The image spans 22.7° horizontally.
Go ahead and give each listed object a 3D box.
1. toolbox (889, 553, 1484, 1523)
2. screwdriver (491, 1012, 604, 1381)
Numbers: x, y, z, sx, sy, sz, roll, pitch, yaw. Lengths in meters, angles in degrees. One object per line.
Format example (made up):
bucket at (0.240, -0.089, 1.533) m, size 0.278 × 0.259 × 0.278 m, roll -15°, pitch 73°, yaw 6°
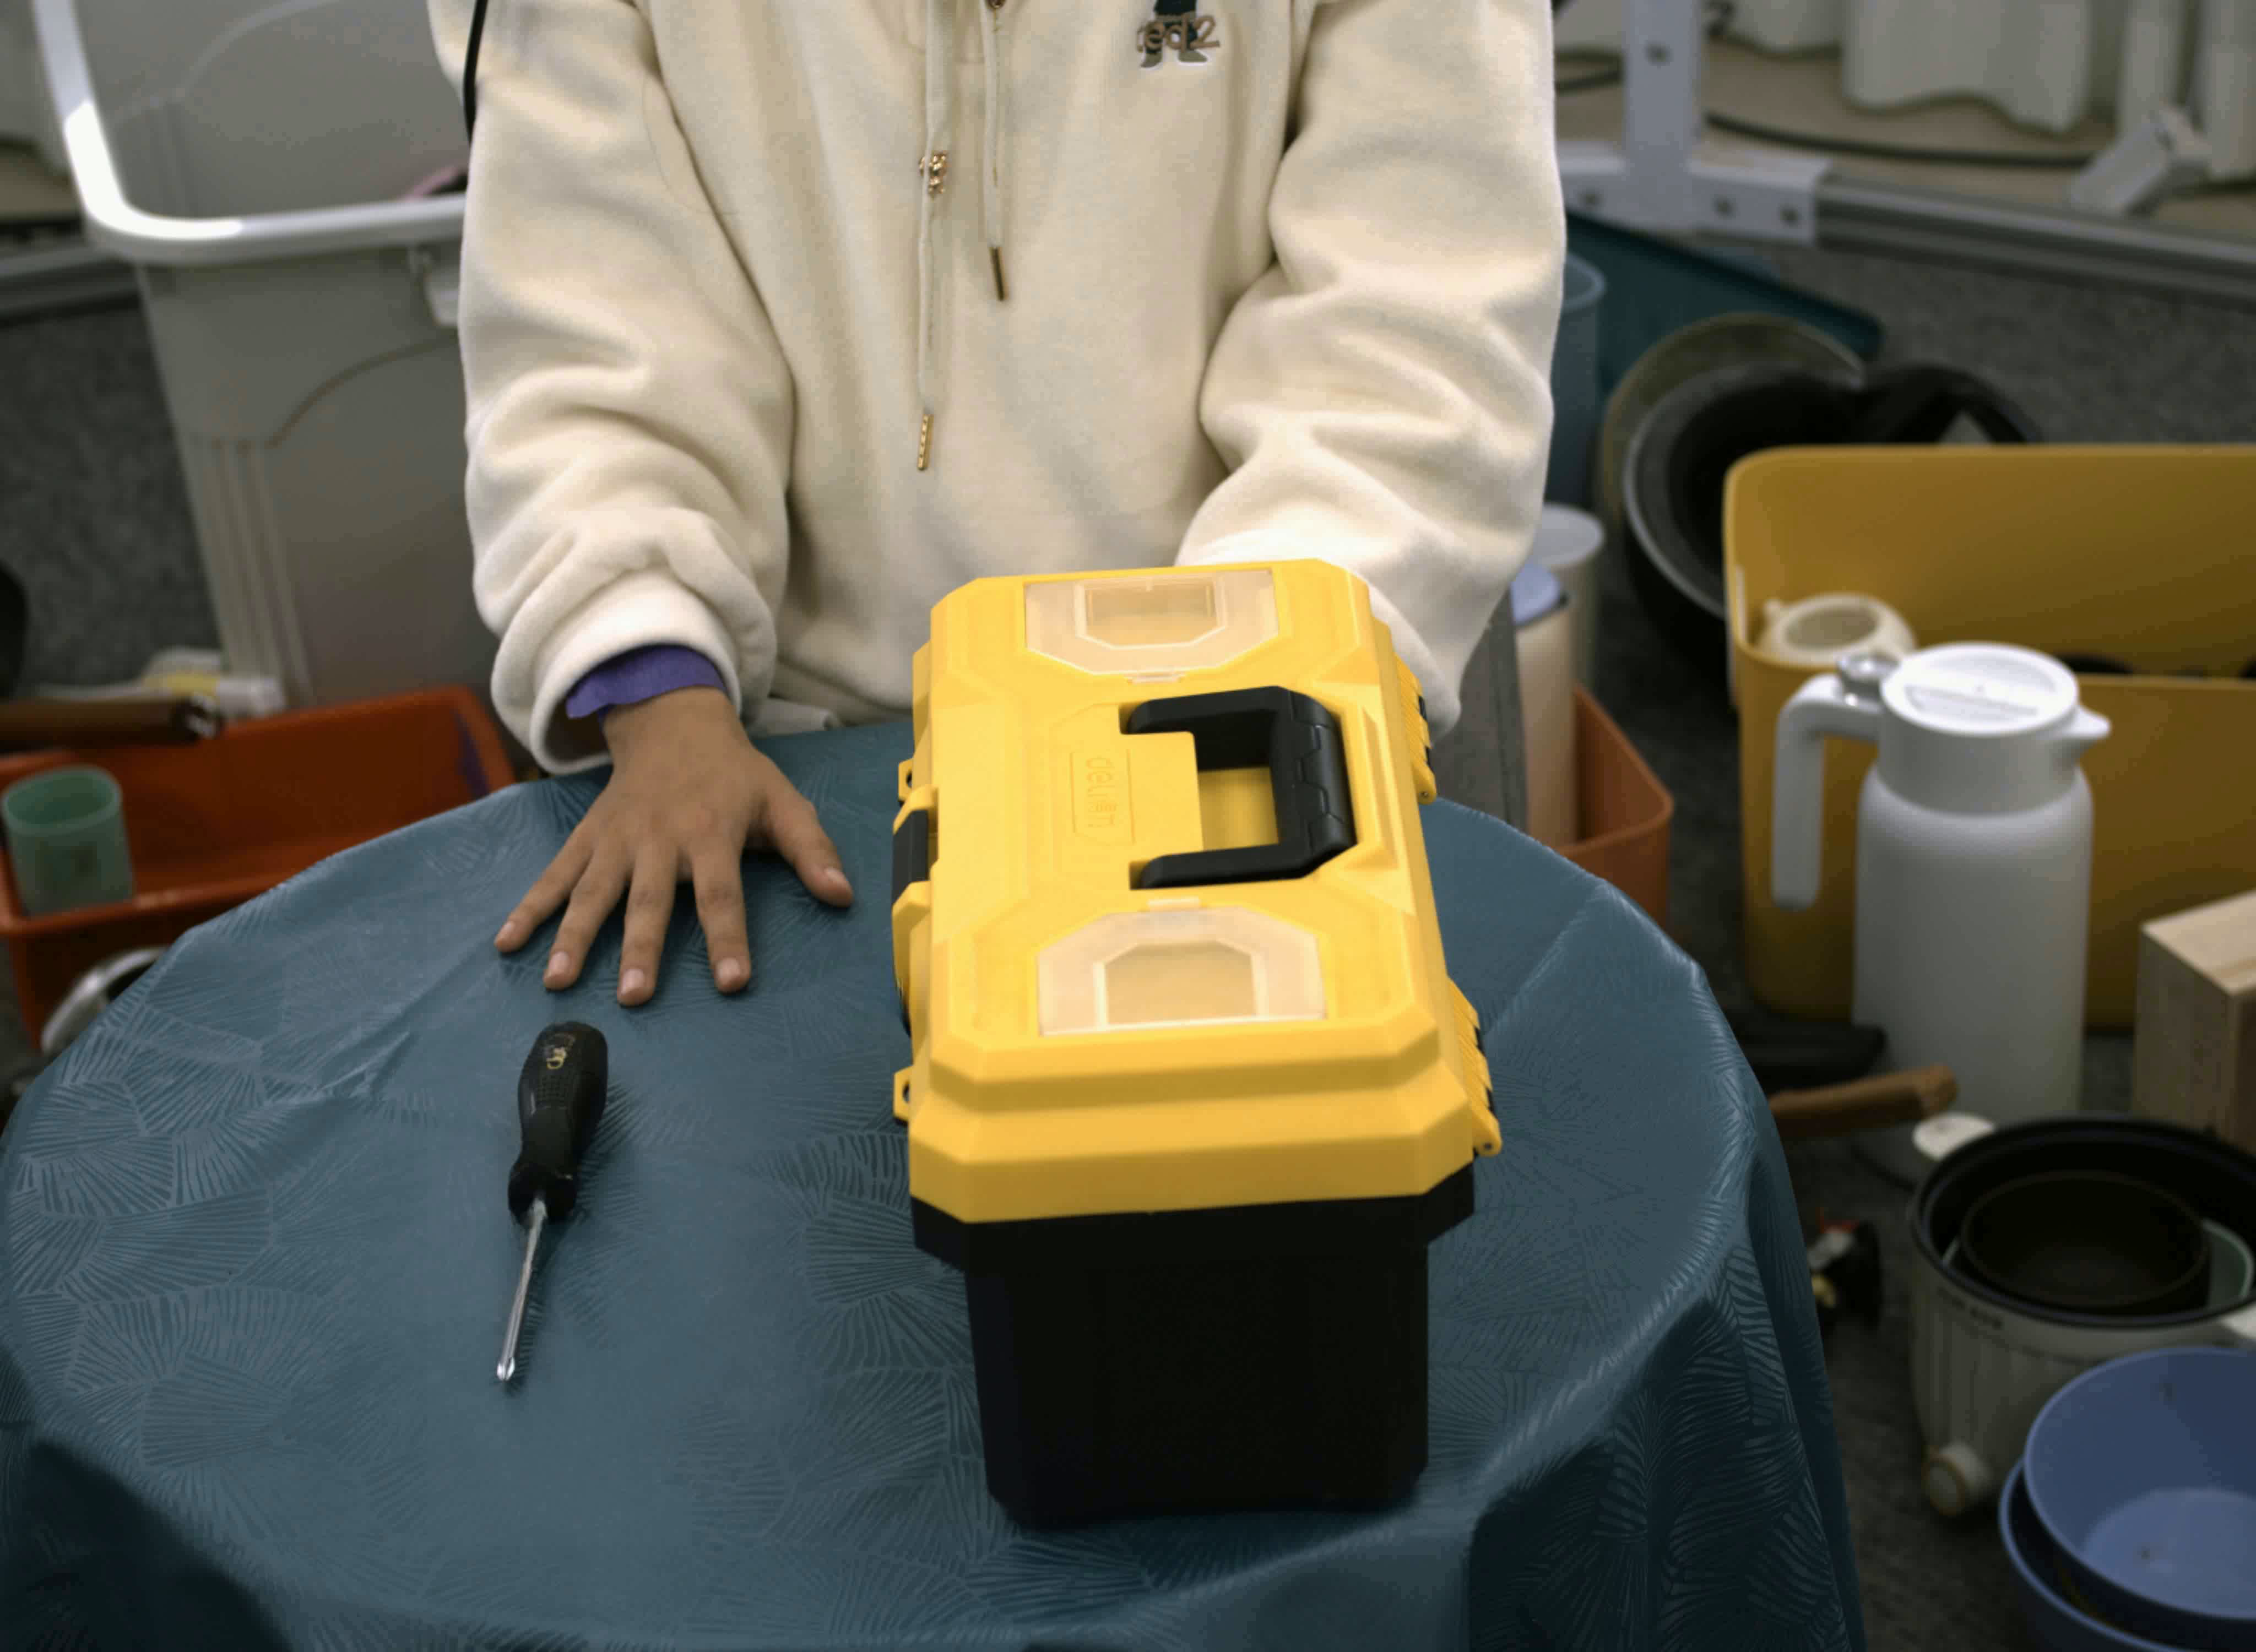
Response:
toolbox at (0.016, 0.060, 1.791) m, size 0.180 × 0.171 × 0.357 m, roll -3°, pitch 27°, yaw 0°
screwdriver at (-0.196, 0.120, 1.849) m, size 0.031 × 0.031 × 0.199 m, roll -1°, pitch 29°, yaw 4°
